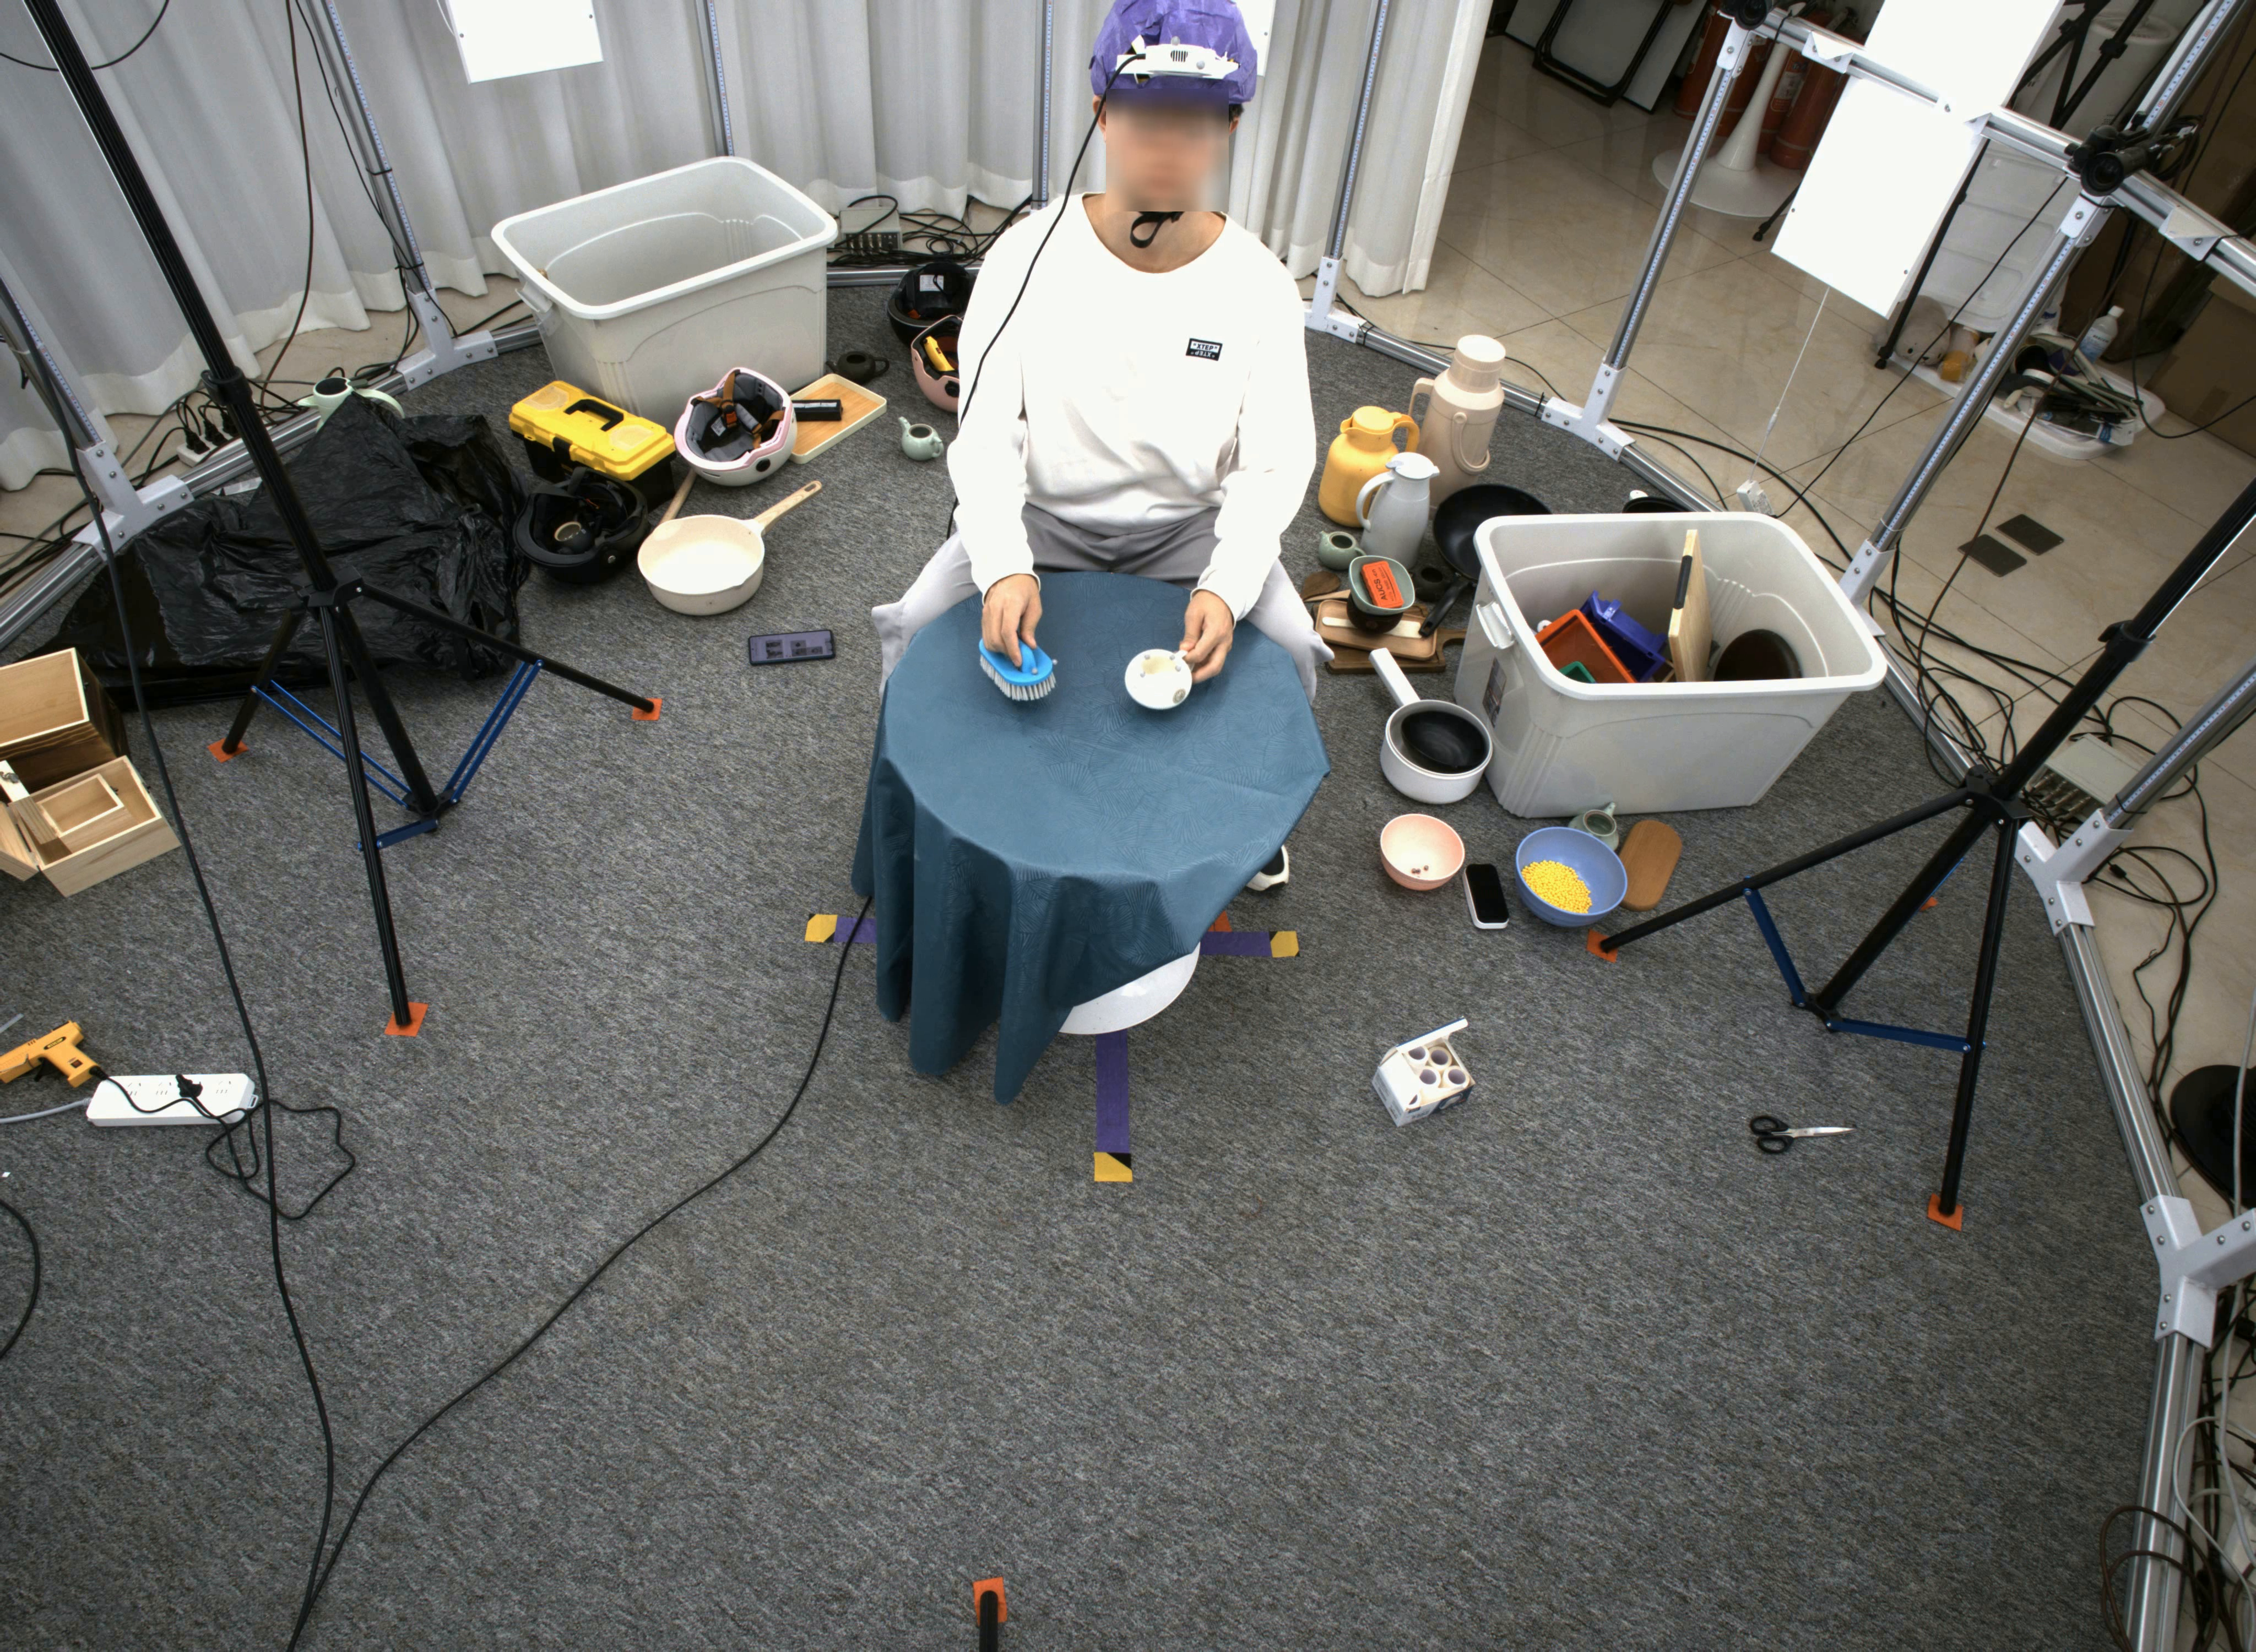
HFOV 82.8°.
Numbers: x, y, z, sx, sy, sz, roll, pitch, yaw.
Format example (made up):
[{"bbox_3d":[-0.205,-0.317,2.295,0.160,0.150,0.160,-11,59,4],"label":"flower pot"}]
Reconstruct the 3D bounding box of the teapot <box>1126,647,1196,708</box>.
[{"bbox_3d":[0.051,-0.212,1.793,0.095,0.055,0.128,31,50,26],"label":"teapot"}]

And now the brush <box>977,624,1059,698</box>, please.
[{"bbox_3d":[-0.156,-0.239,1.782,0.084,0.062,0.145,-28,45,-17],"label":"brush"}]
